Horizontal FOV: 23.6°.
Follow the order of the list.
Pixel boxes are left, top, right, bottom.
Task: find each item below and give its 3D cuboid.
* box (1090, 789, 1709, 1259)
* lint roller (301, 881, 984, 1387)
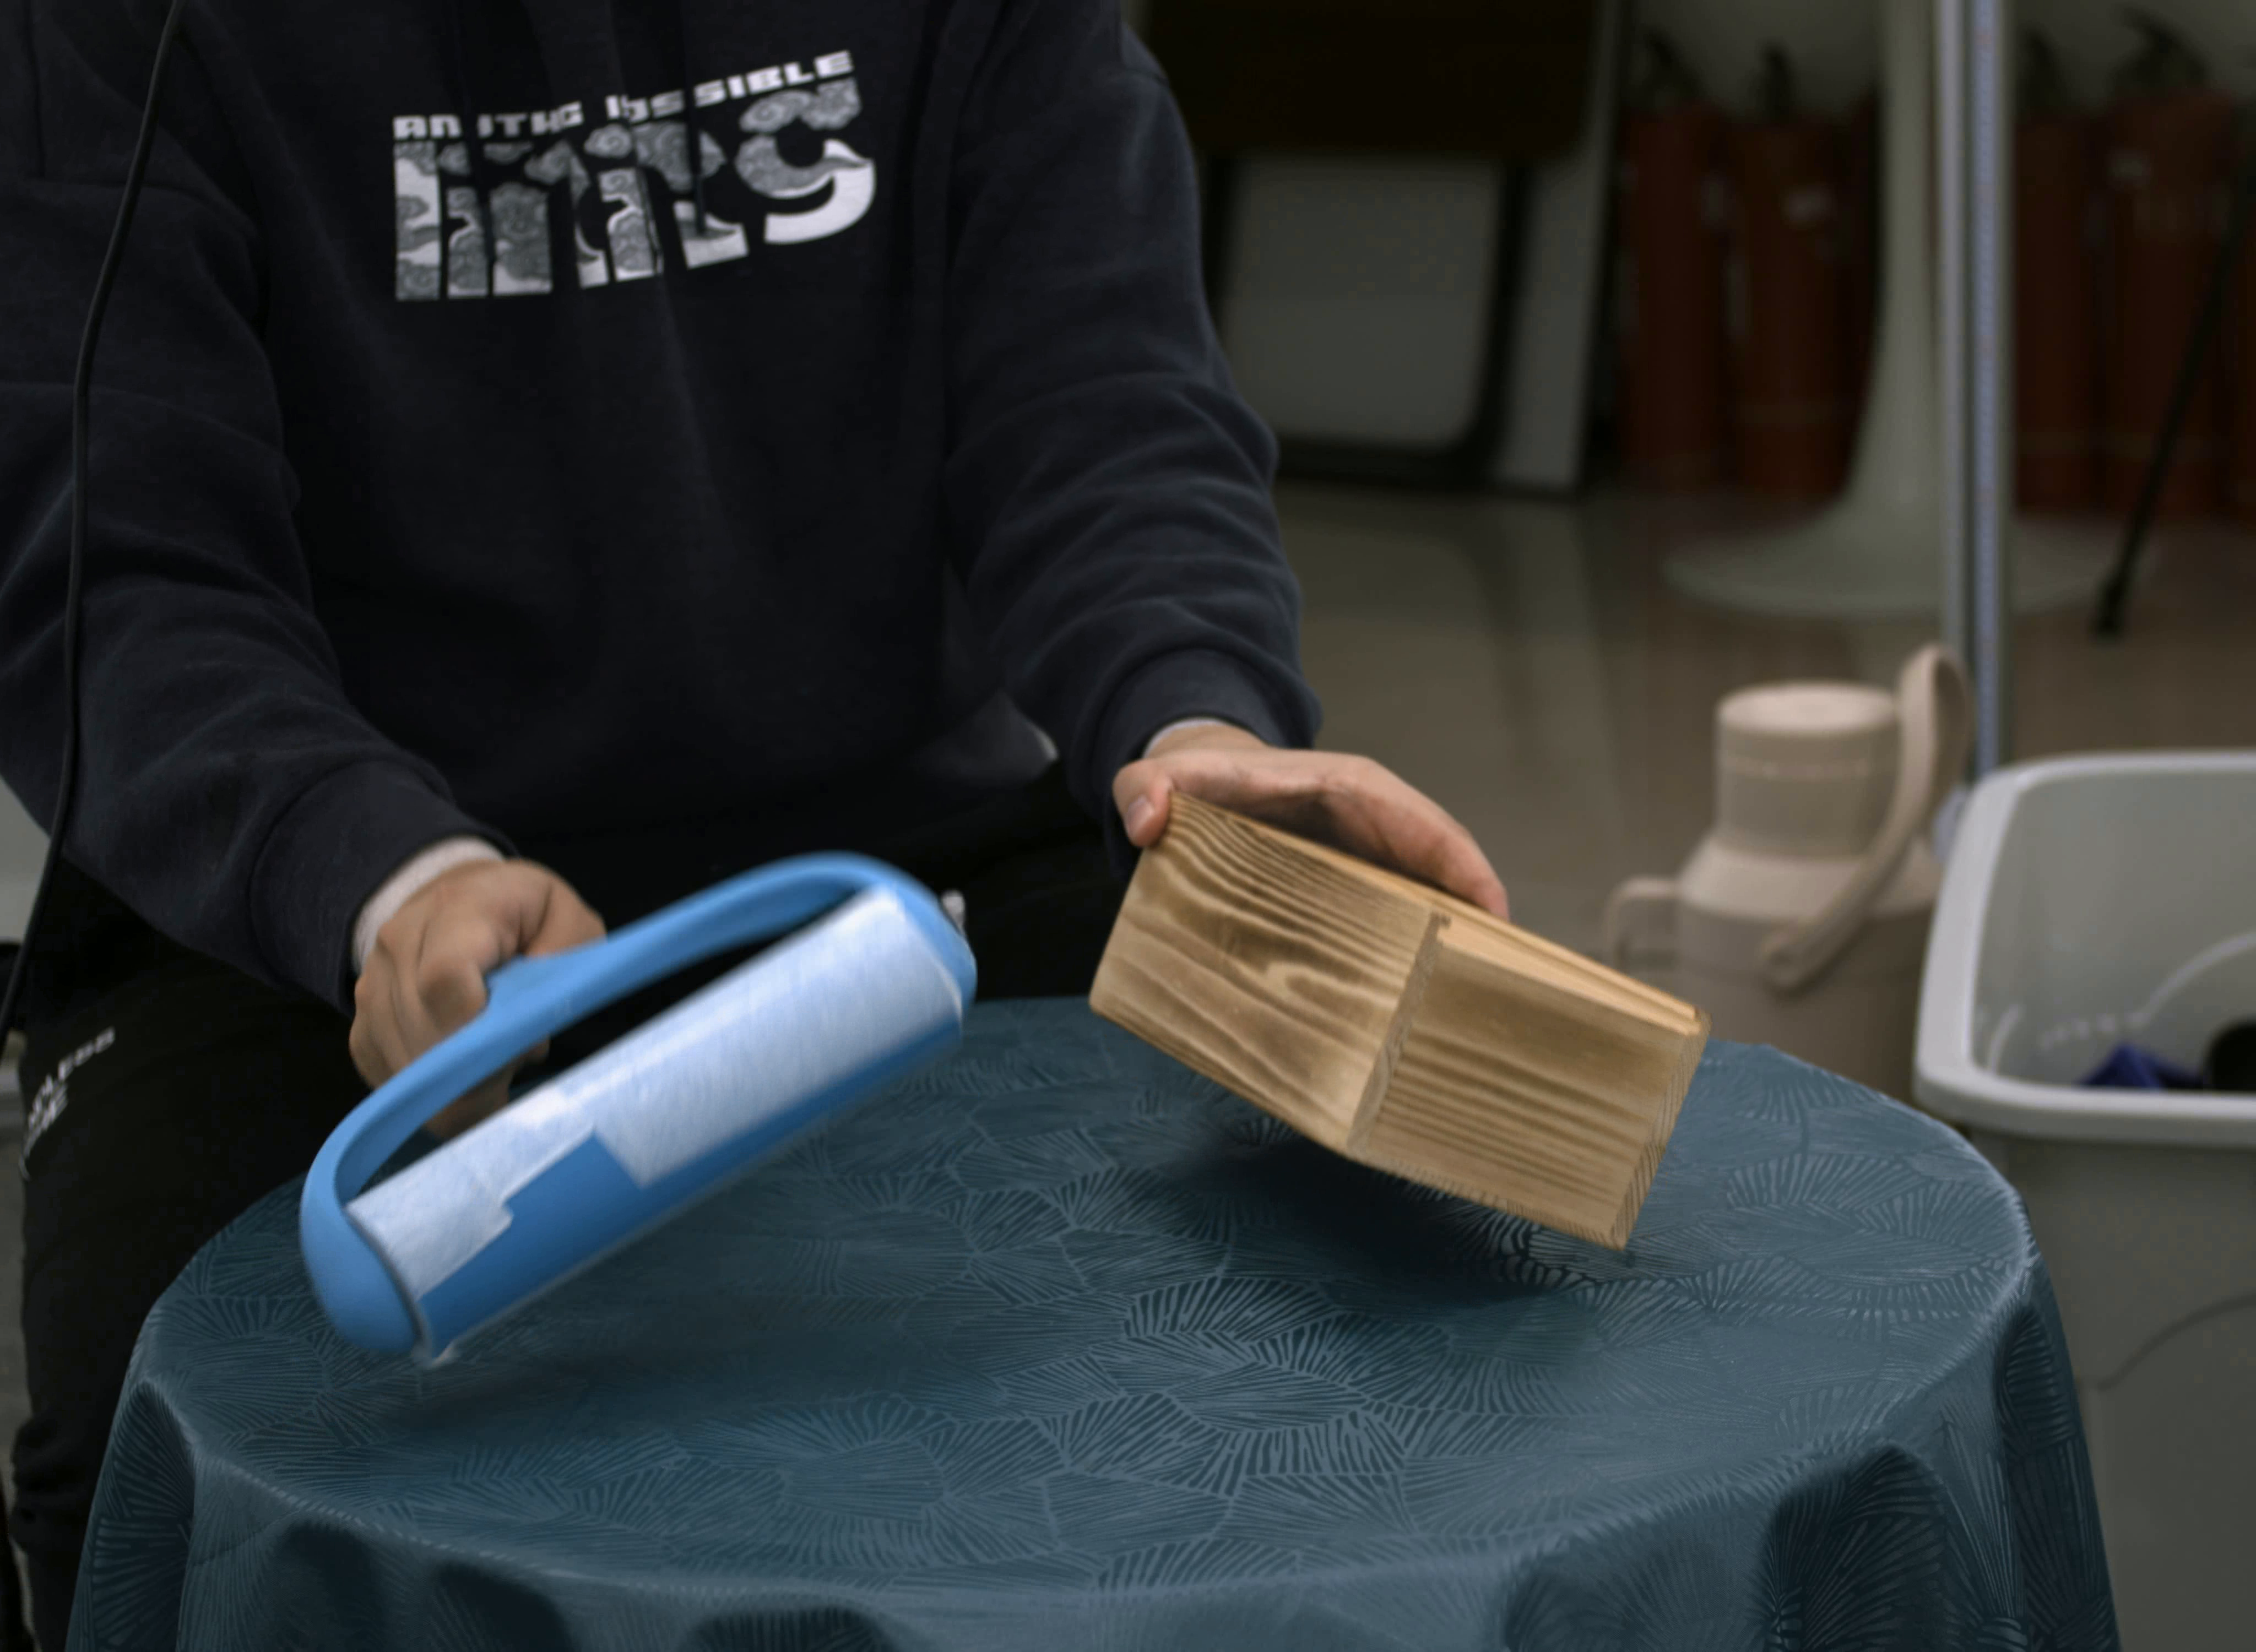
[{"bbox_3d":[0.083,0.060,1.724,0.105,0.081,0.213,20,3,-24],"label":"box"},{"bbox_3d":[-0.172,0.078,1.665,0.226,0.068,0.182,-32,31,-20],"label":"lint roller"}]
